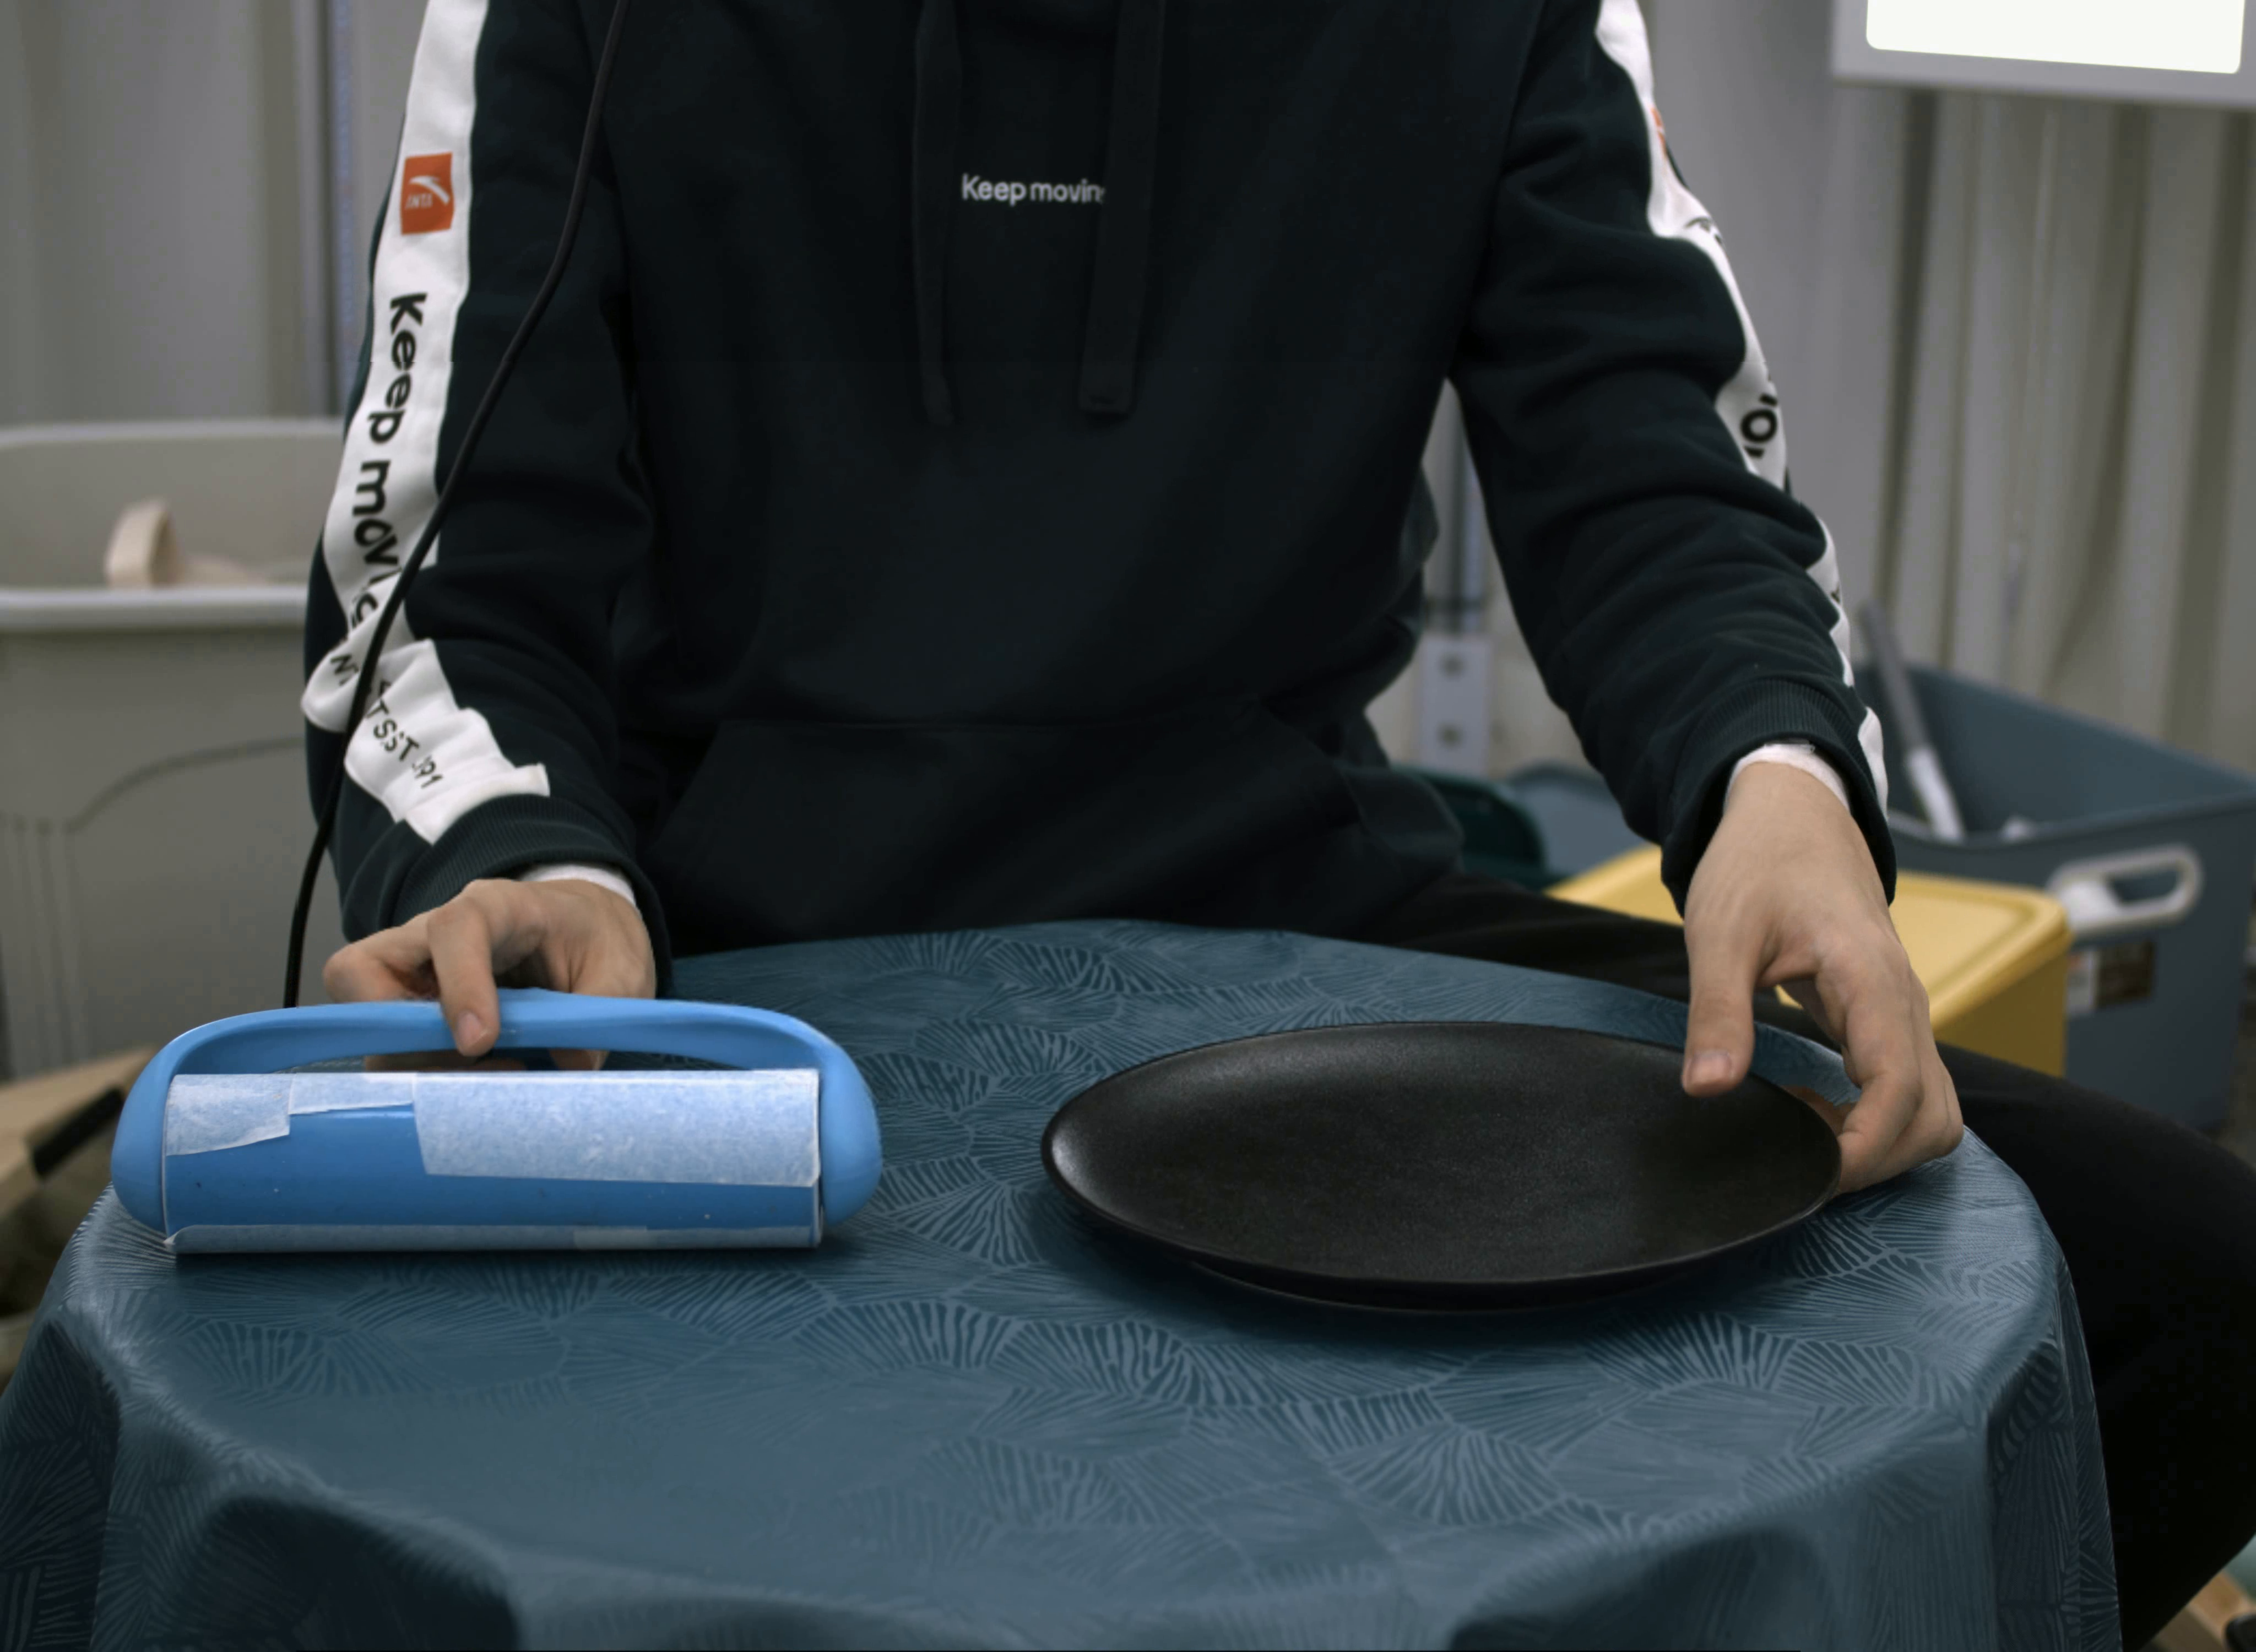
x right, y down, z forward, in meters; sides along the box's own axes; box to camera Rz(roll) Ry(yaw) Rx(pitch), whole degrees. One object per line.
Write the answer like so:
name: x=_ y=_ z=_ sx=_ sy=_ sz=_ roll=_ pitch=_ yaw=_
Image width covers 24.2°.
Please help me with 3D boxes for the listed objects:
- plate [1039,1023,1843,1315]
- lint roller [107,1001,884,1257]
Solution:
plate: x=0.095 y=0.107 z=1.600 sx=0.243 sy=0.023 sz=0.243 roll=1 pitch=15 yaw=0
lint roller: x=-0.191 y=0.083 z=1.614 sx=0.228 sy=0.068 sz=0.179 roll=-2 pitch=15 yaw=-5
